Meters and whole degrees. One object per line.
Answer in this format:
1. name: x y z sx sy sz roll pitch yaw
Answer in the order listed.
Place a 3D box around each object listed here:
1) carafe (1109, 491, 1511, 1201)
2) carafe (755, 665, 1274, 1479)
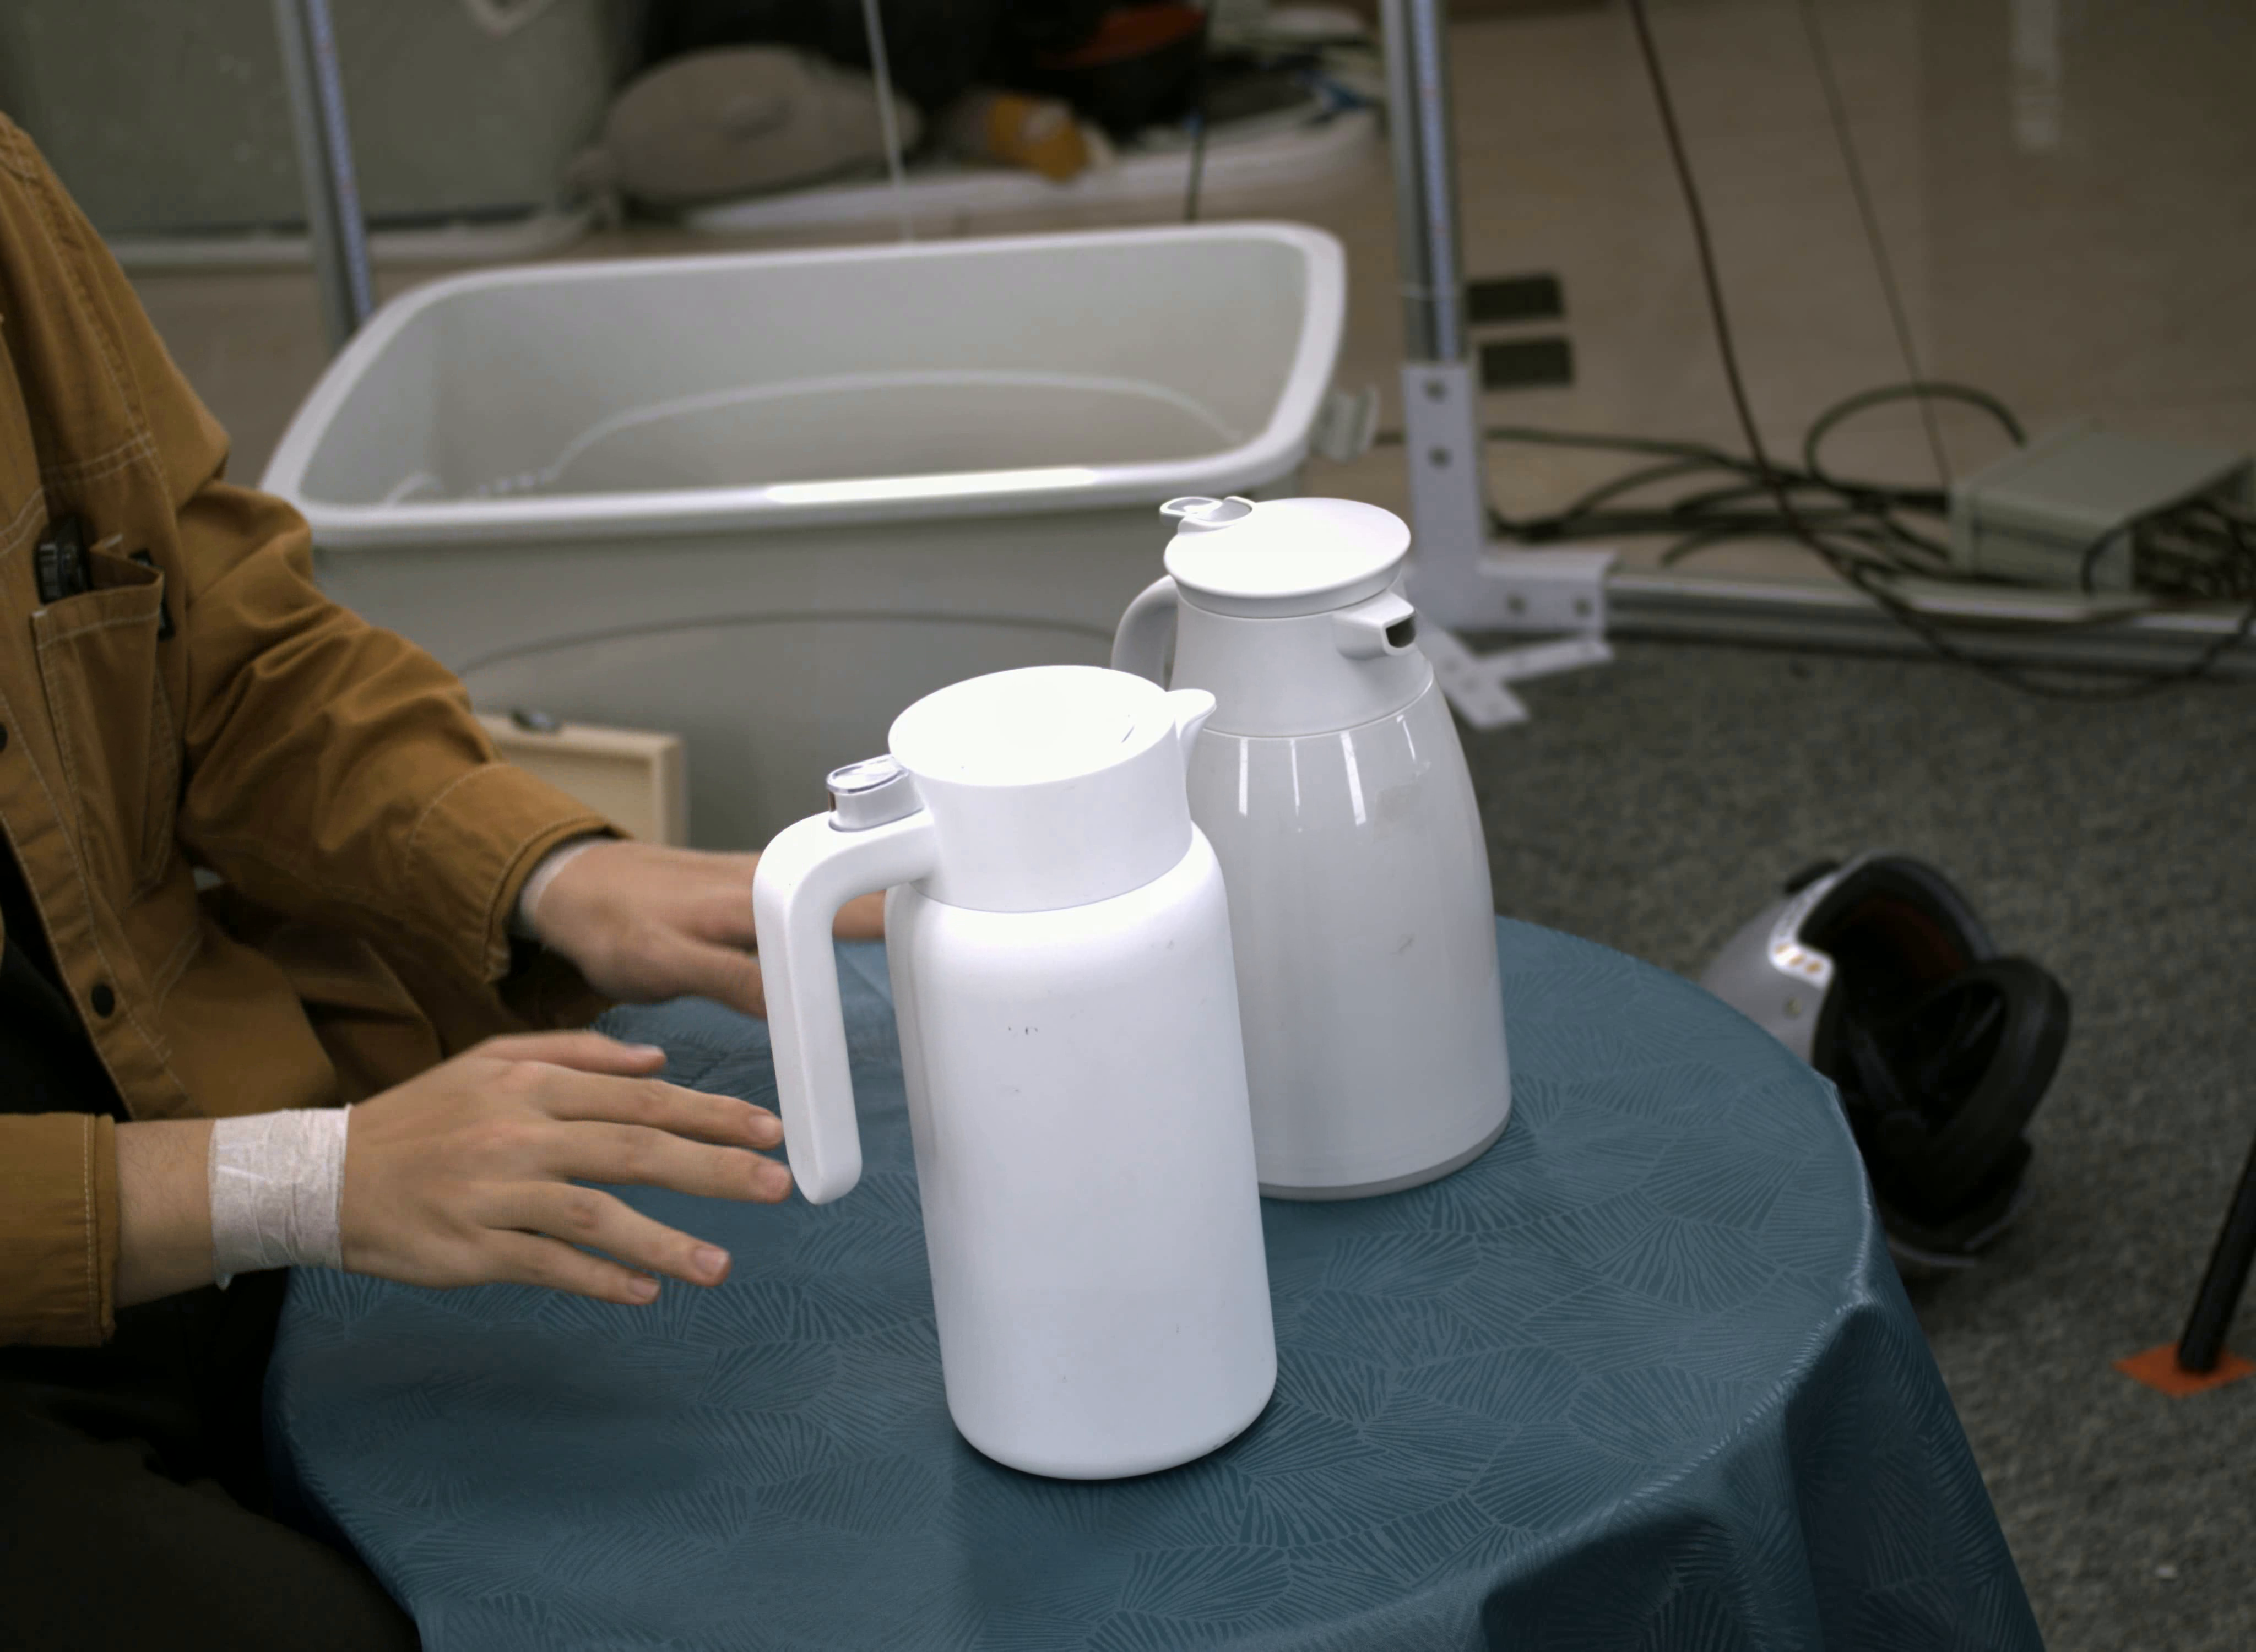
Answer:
1. carafe: 0.057 -0.003 2.142 0.131 0.252 0.166 -26 31 -34
2. carafe: -0.033 0.090 1.943 0.172 0.273 0.122 -18 30 -22
